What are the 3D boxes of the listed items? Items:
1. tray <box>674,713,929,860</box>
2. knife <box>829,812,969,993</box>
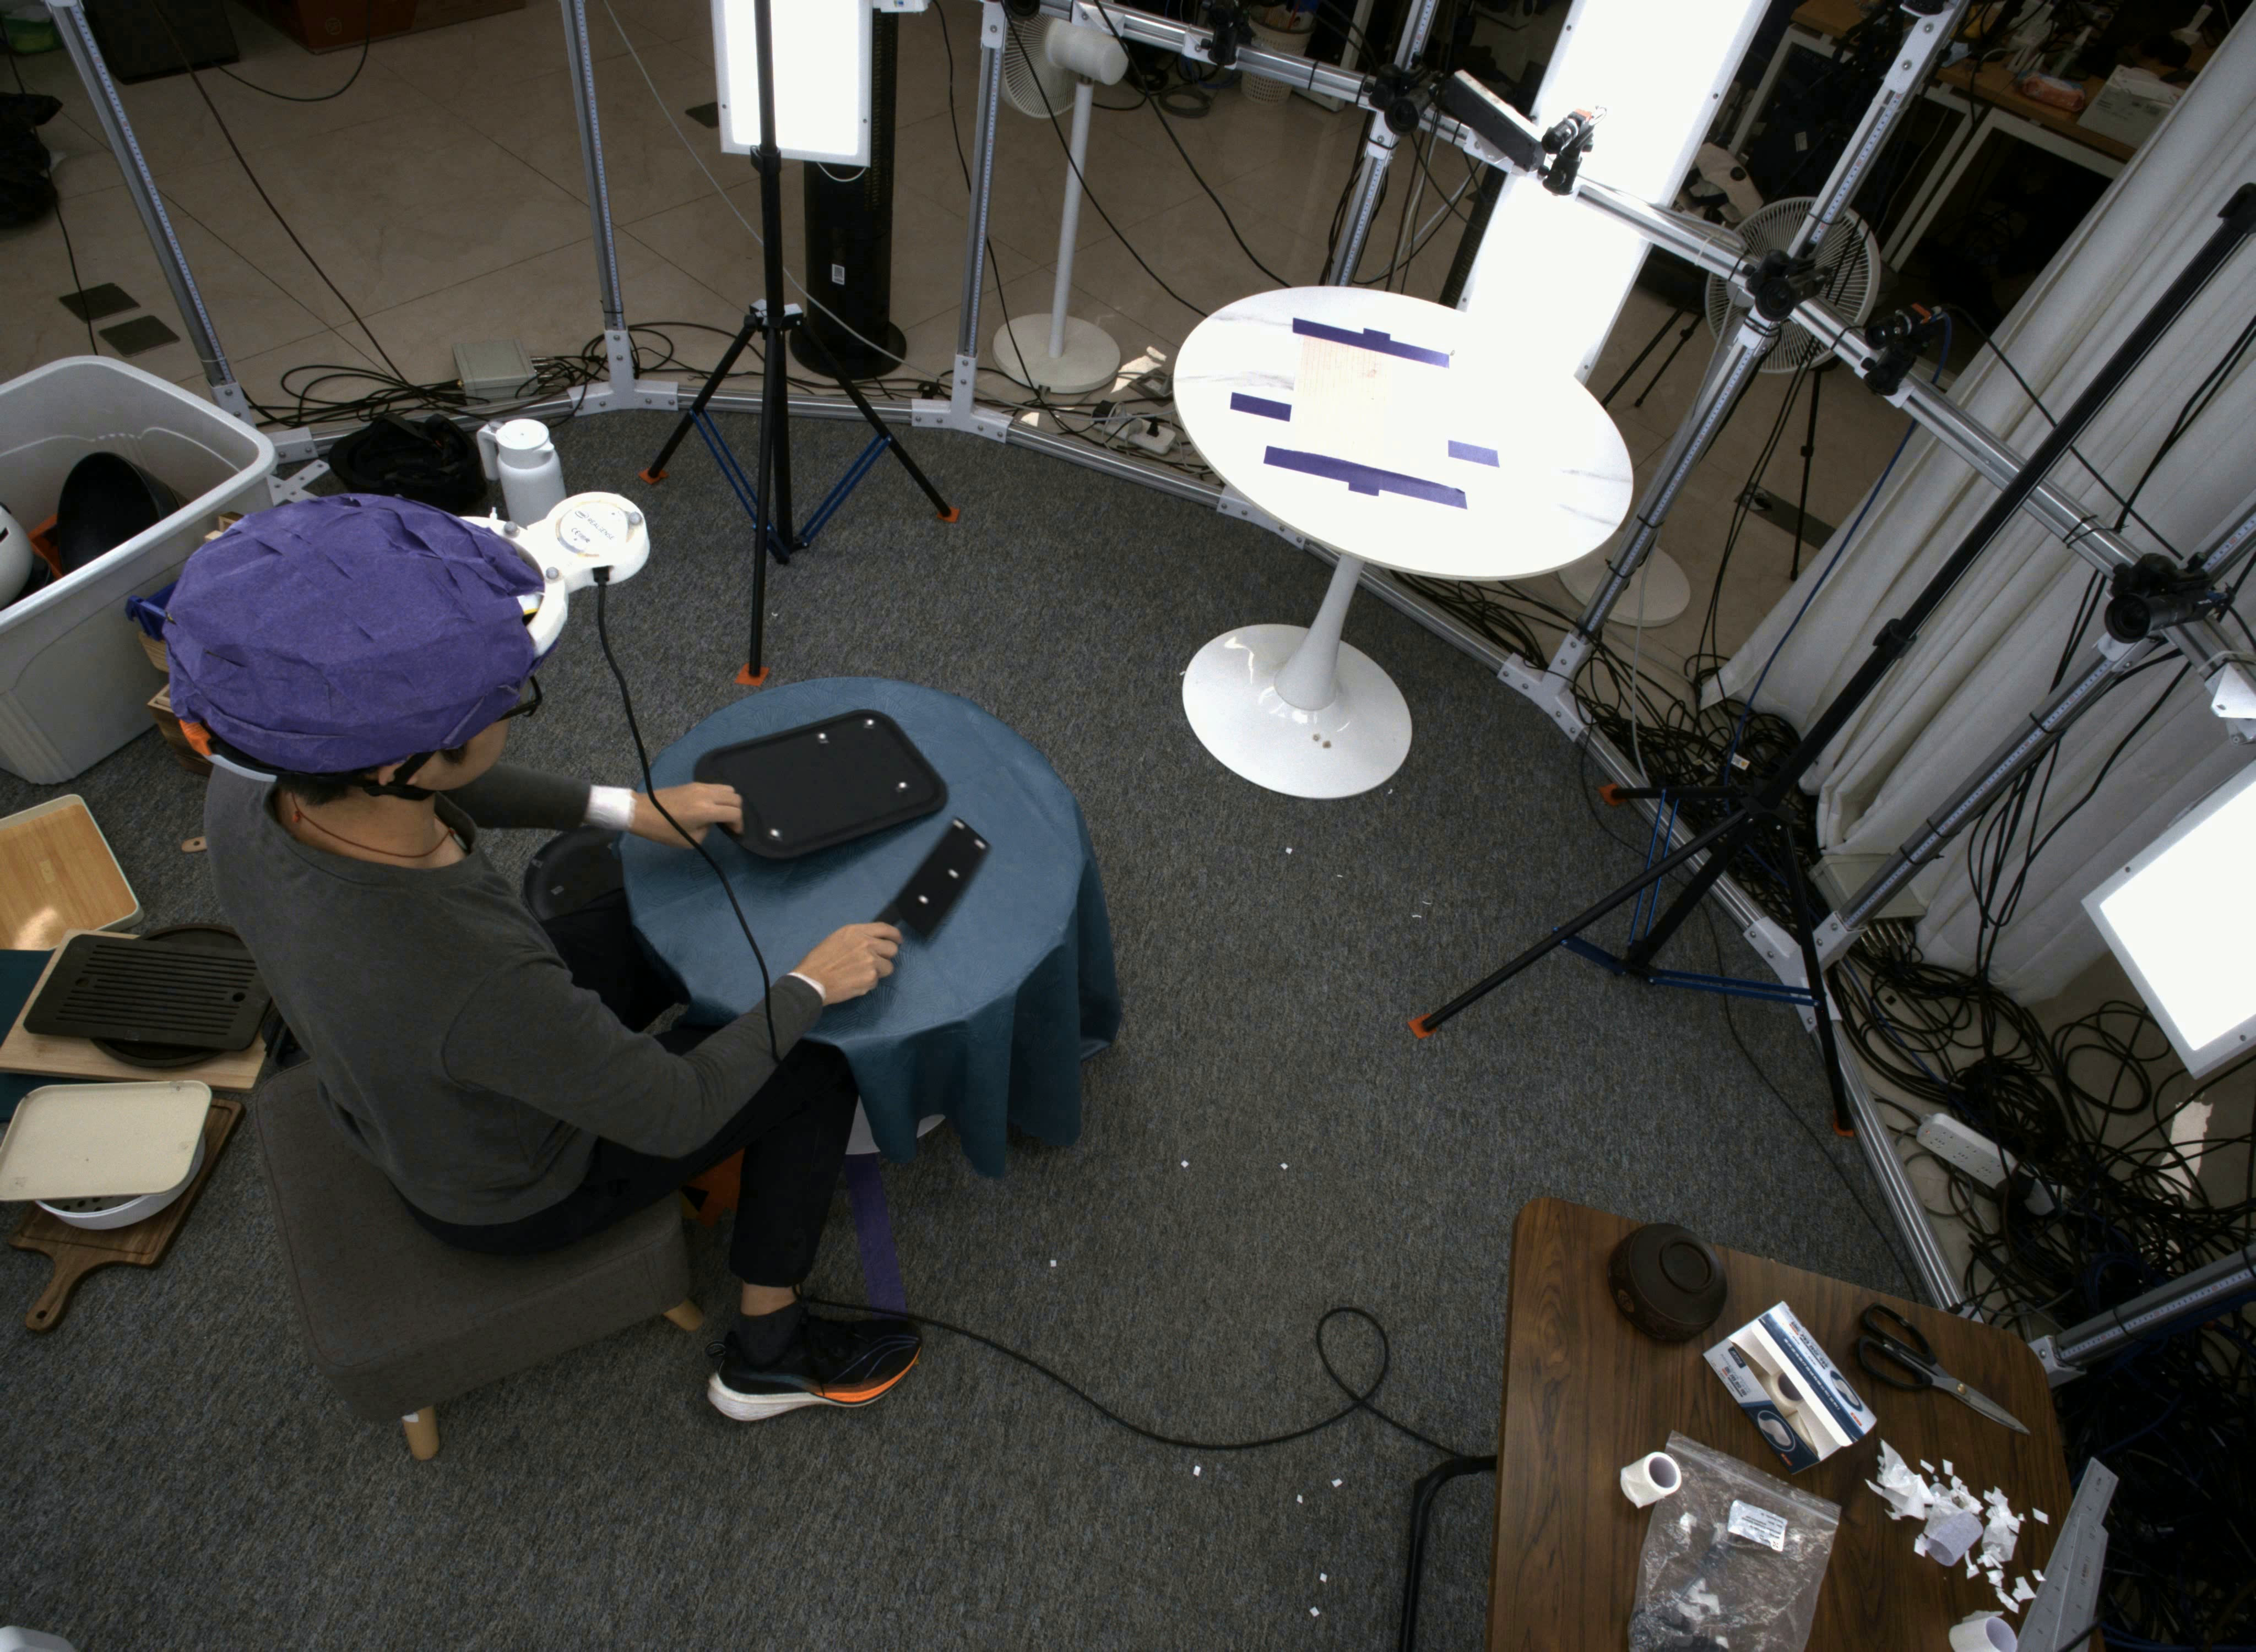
[{"bbox_3d":[-0.437,-0.058,1.731,0.328,0.010,0.206,-21,60,-40],"label":"tray"},{"bbox_3d":[-0.290,0.096,1.657,0.082,0.020,0.300,43,47,-11],"label":"knife"}]
